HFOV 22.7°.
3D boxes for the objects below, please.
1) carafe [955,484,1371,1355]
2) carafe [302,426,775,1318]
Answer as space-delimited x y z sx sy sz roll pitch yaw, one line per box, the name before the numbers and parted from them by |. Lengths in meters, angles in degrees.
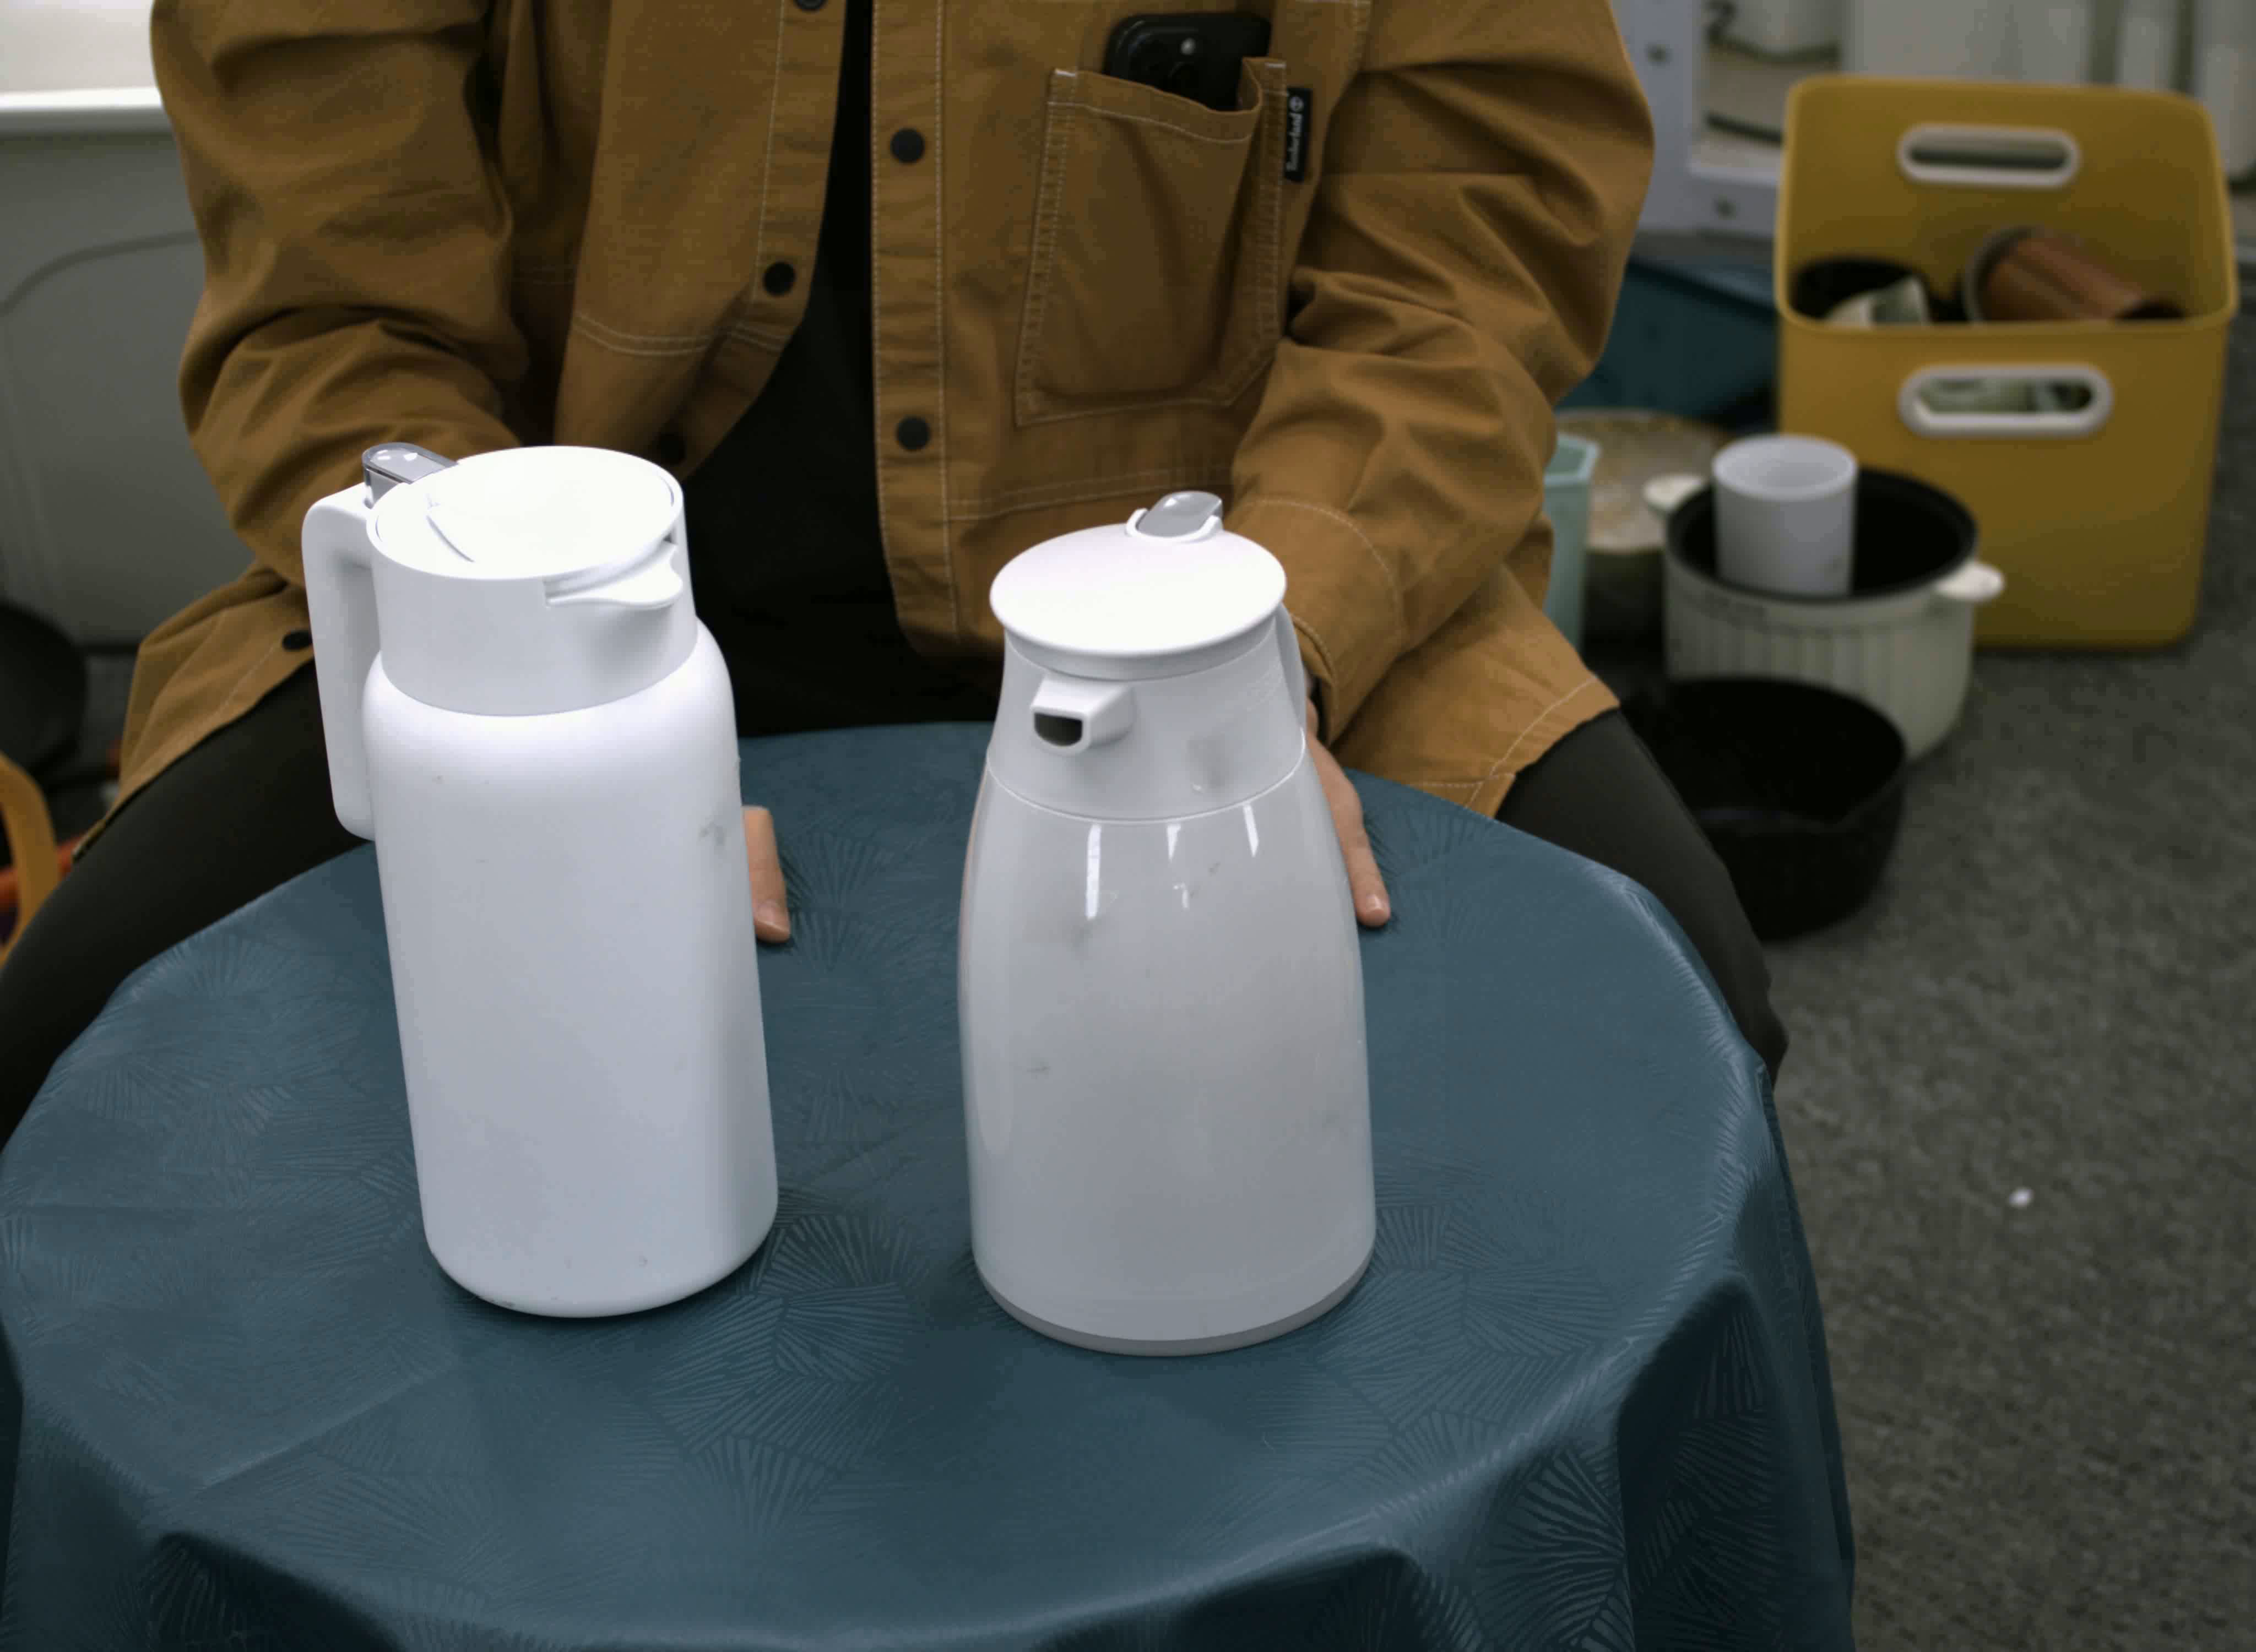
carafe | 0.015 0.019 1.790 0.131 0.246 0.170 8 27 21
carafe | -0.193 0.013 1.802 0.172 0.266 0.125 21 37 40
